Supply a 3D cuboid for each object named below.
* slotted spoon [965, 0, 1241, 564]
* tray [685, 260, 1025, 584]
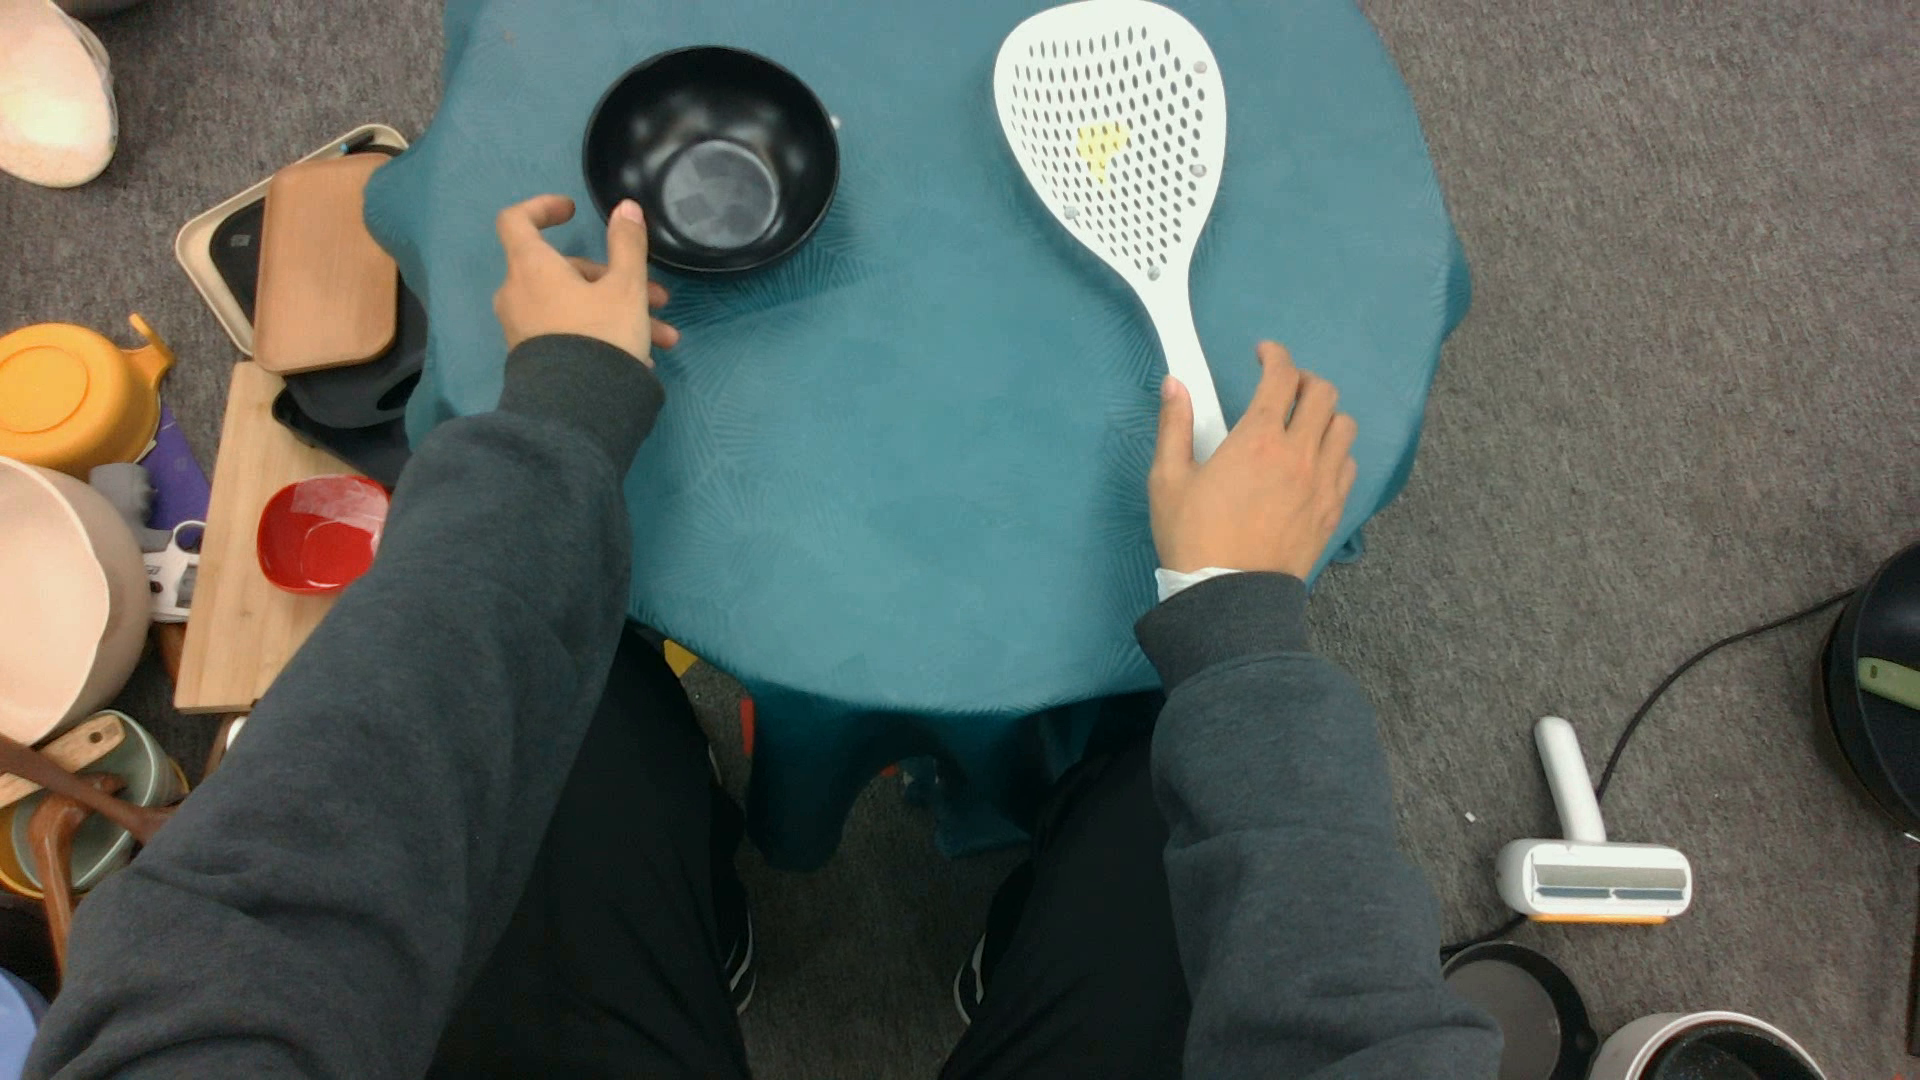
[{"bbox_3d":[0.099,-0.154,0.789,0.137,0.050,0.348,-14,77,-14],"label":"slotted spoon"},{"bbox_3d":[-0.102,-0.118,1.346,0.300,0.027,0.192,44,74,8],"label":"tray"}]
